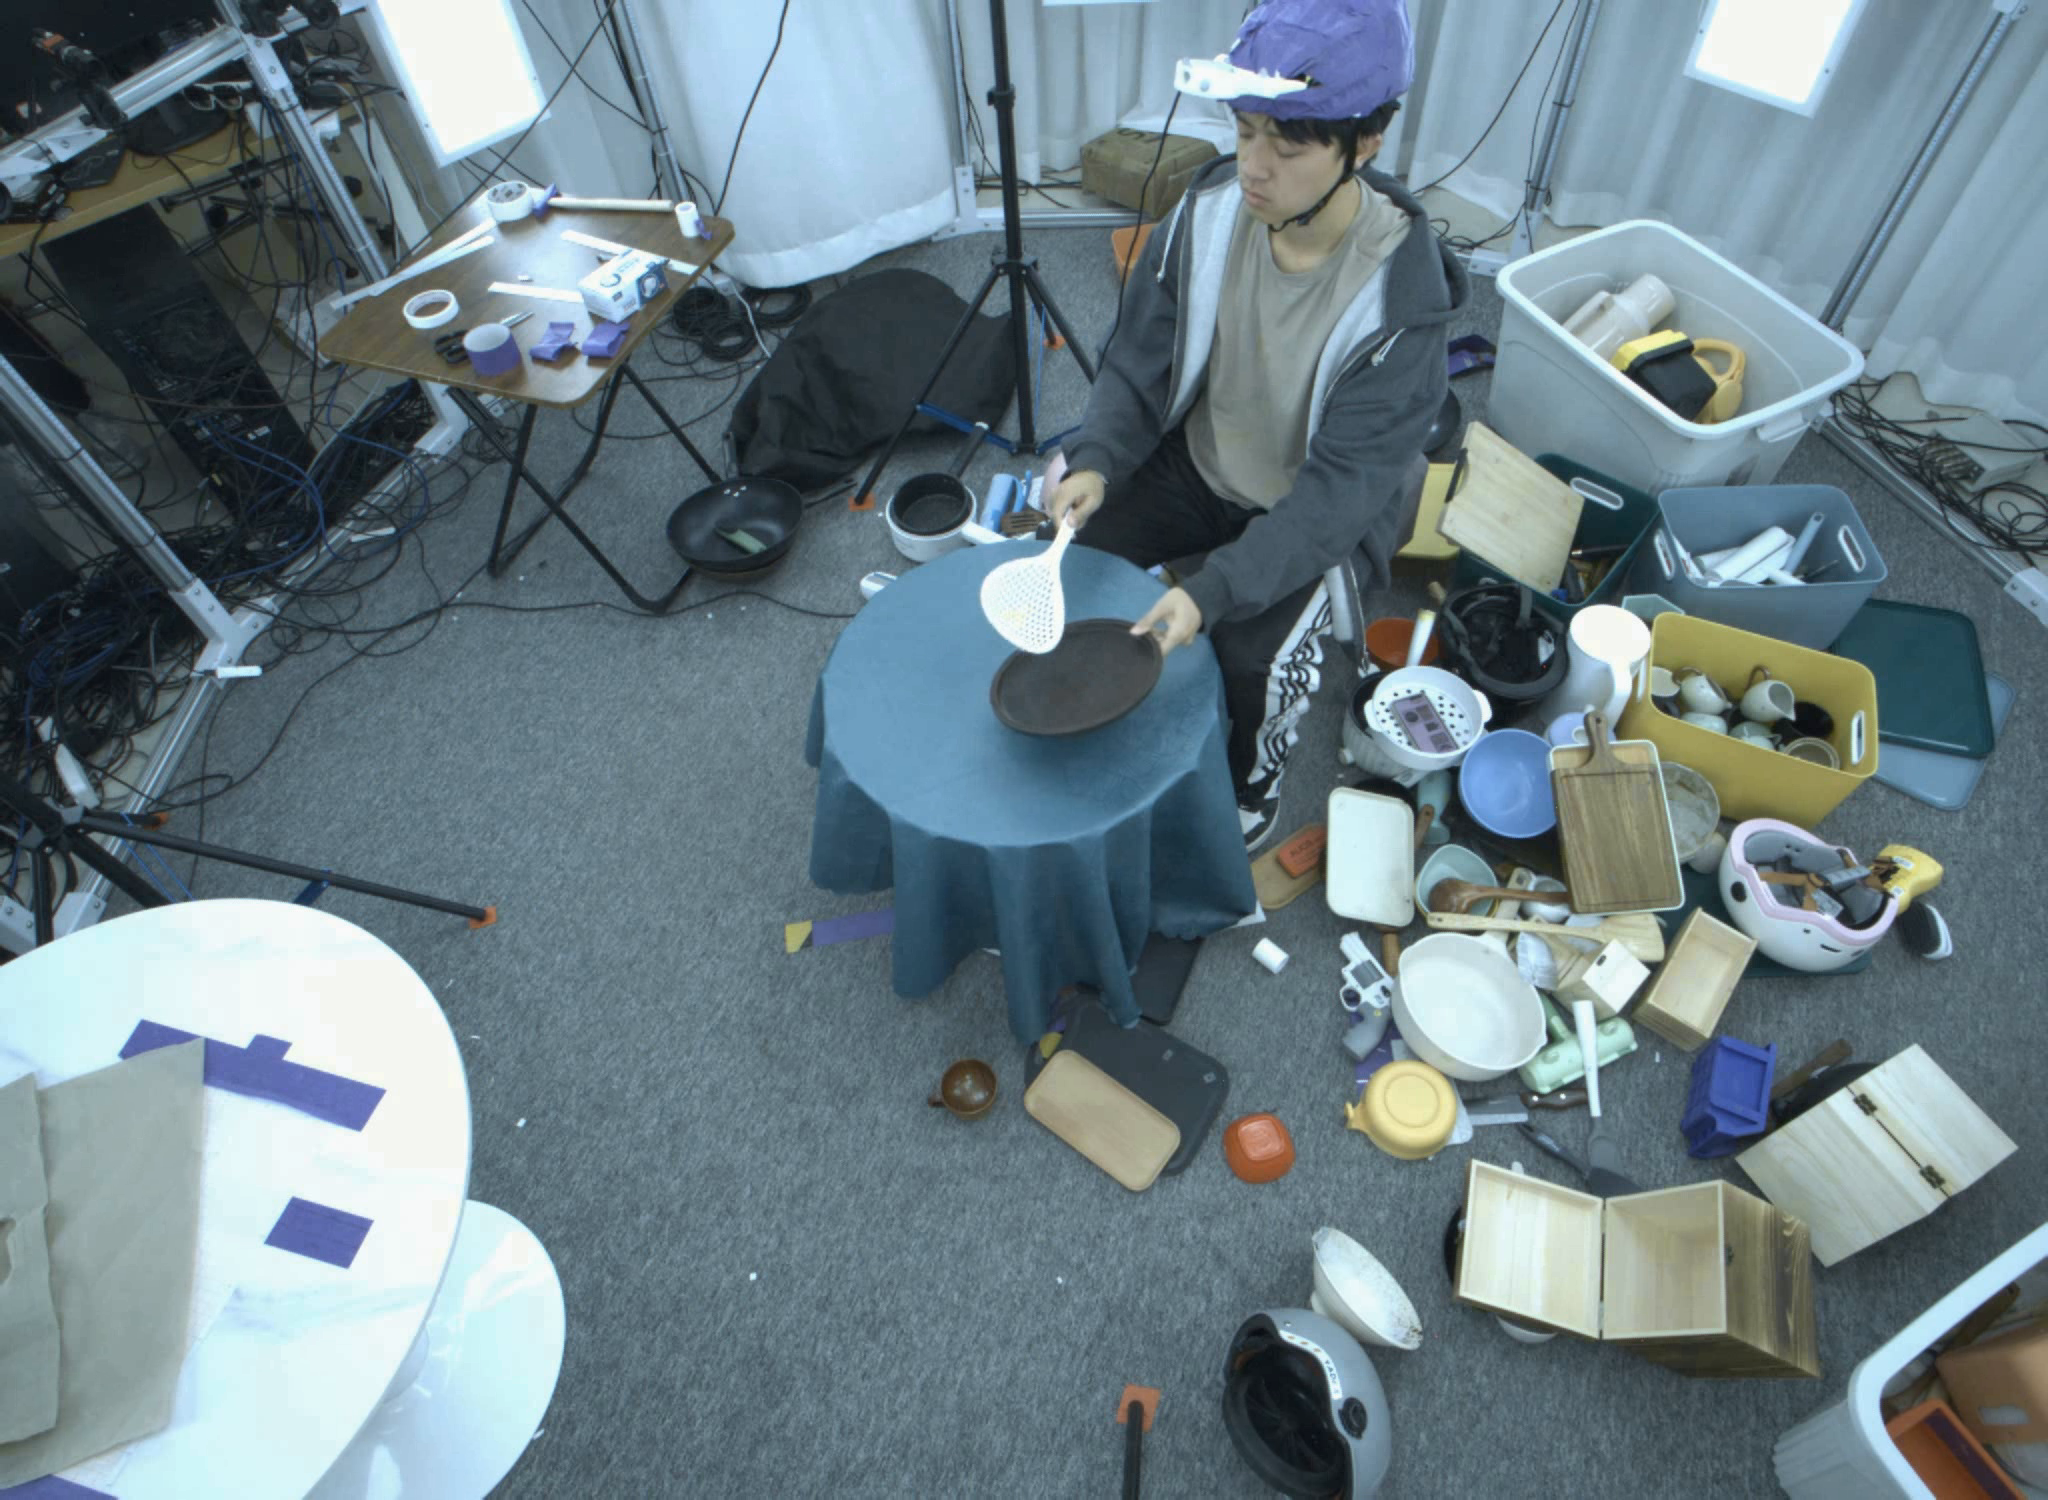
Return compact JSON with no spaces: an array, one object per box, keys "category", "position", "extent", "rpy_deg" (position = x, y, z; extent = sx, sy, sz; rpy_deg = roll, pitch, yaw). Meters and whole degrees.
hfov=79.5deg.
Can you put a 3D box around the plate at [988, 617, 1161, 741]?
[{"category":"plate","position":[0.072,-0.102,1.745],"extent":[0.253,0.029,0.252],"rpy_deg":[-12,40,12]}]

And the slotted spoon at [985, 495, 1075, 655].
[{"category":"slotted spoon","position":[0.031,-0.271,1.801],"extent":[0.139,0.049,0.347],"rpy_deg":[38,53,-18]}]
